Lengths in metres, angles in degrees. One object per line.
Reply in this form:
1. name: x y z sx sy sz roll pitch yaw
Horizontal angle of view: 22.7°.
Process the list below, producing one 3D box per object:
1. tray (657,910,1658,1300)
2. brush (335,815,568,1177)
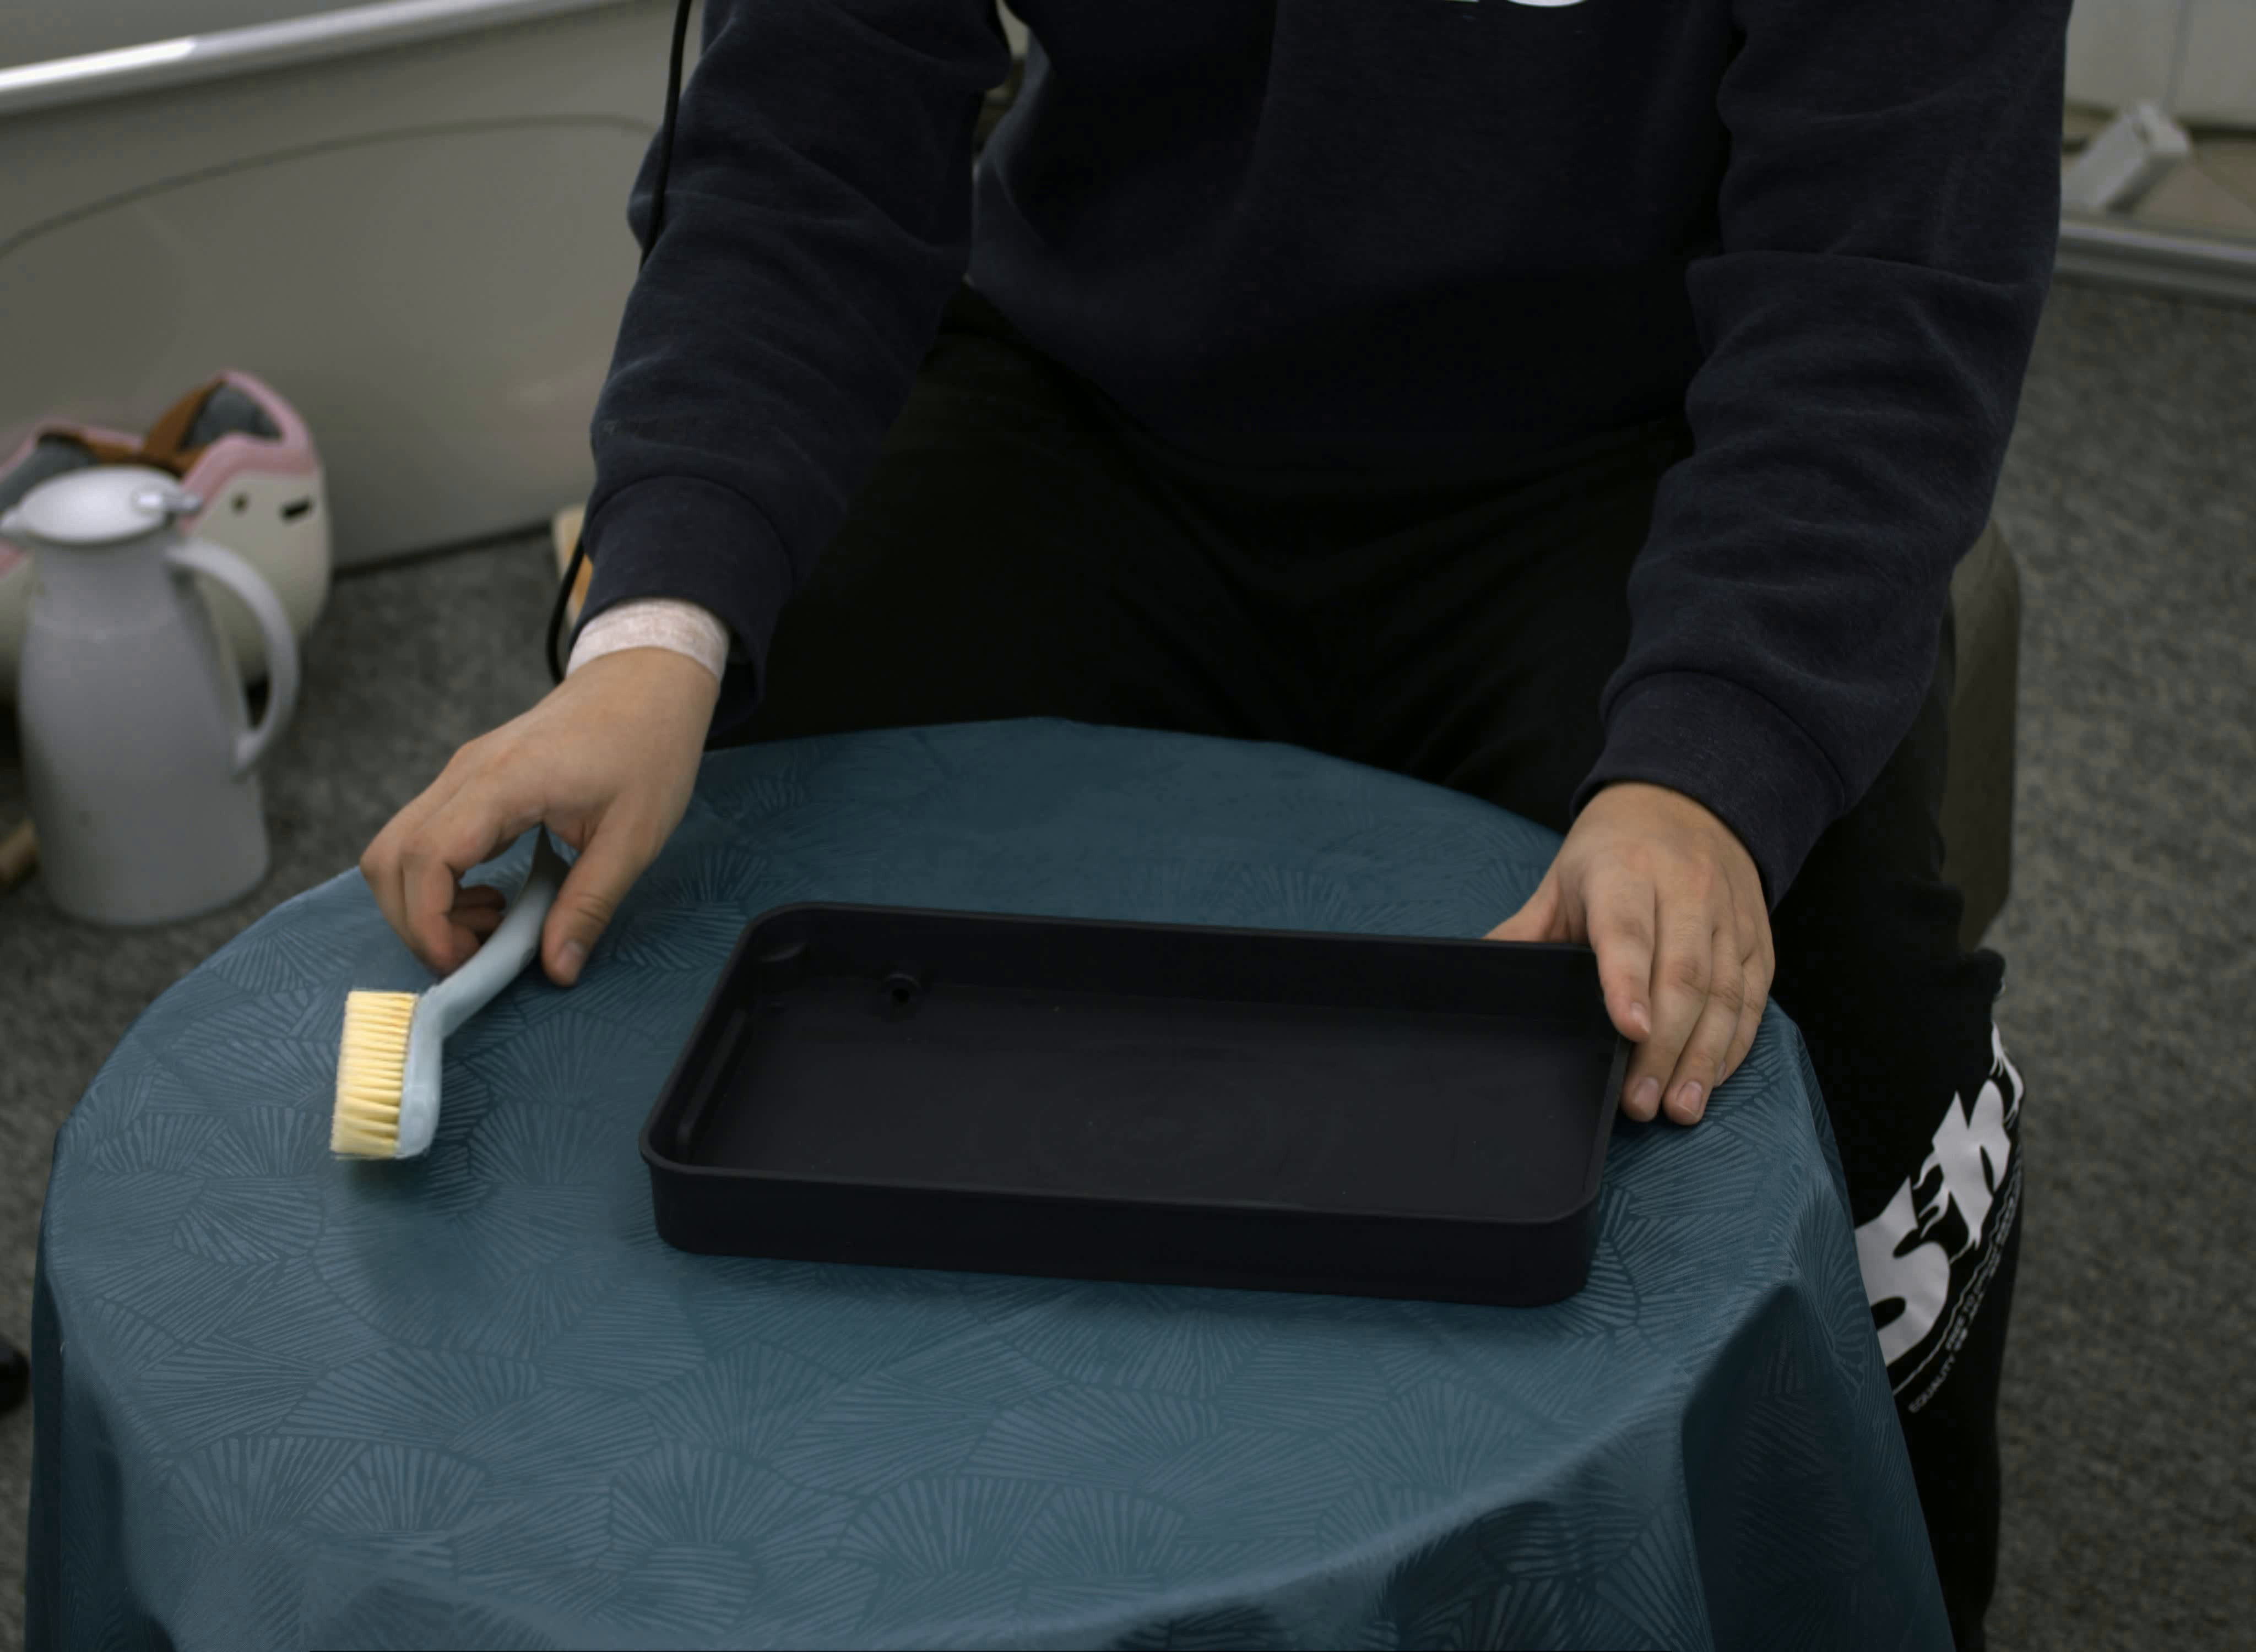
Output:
1. tray: 0.014 0.091 1.884 0.316 0.036 0.187 2 27 9
2. brush: -0.240 0.054 1.976 0.049 0.037 0.232 12 28 4
